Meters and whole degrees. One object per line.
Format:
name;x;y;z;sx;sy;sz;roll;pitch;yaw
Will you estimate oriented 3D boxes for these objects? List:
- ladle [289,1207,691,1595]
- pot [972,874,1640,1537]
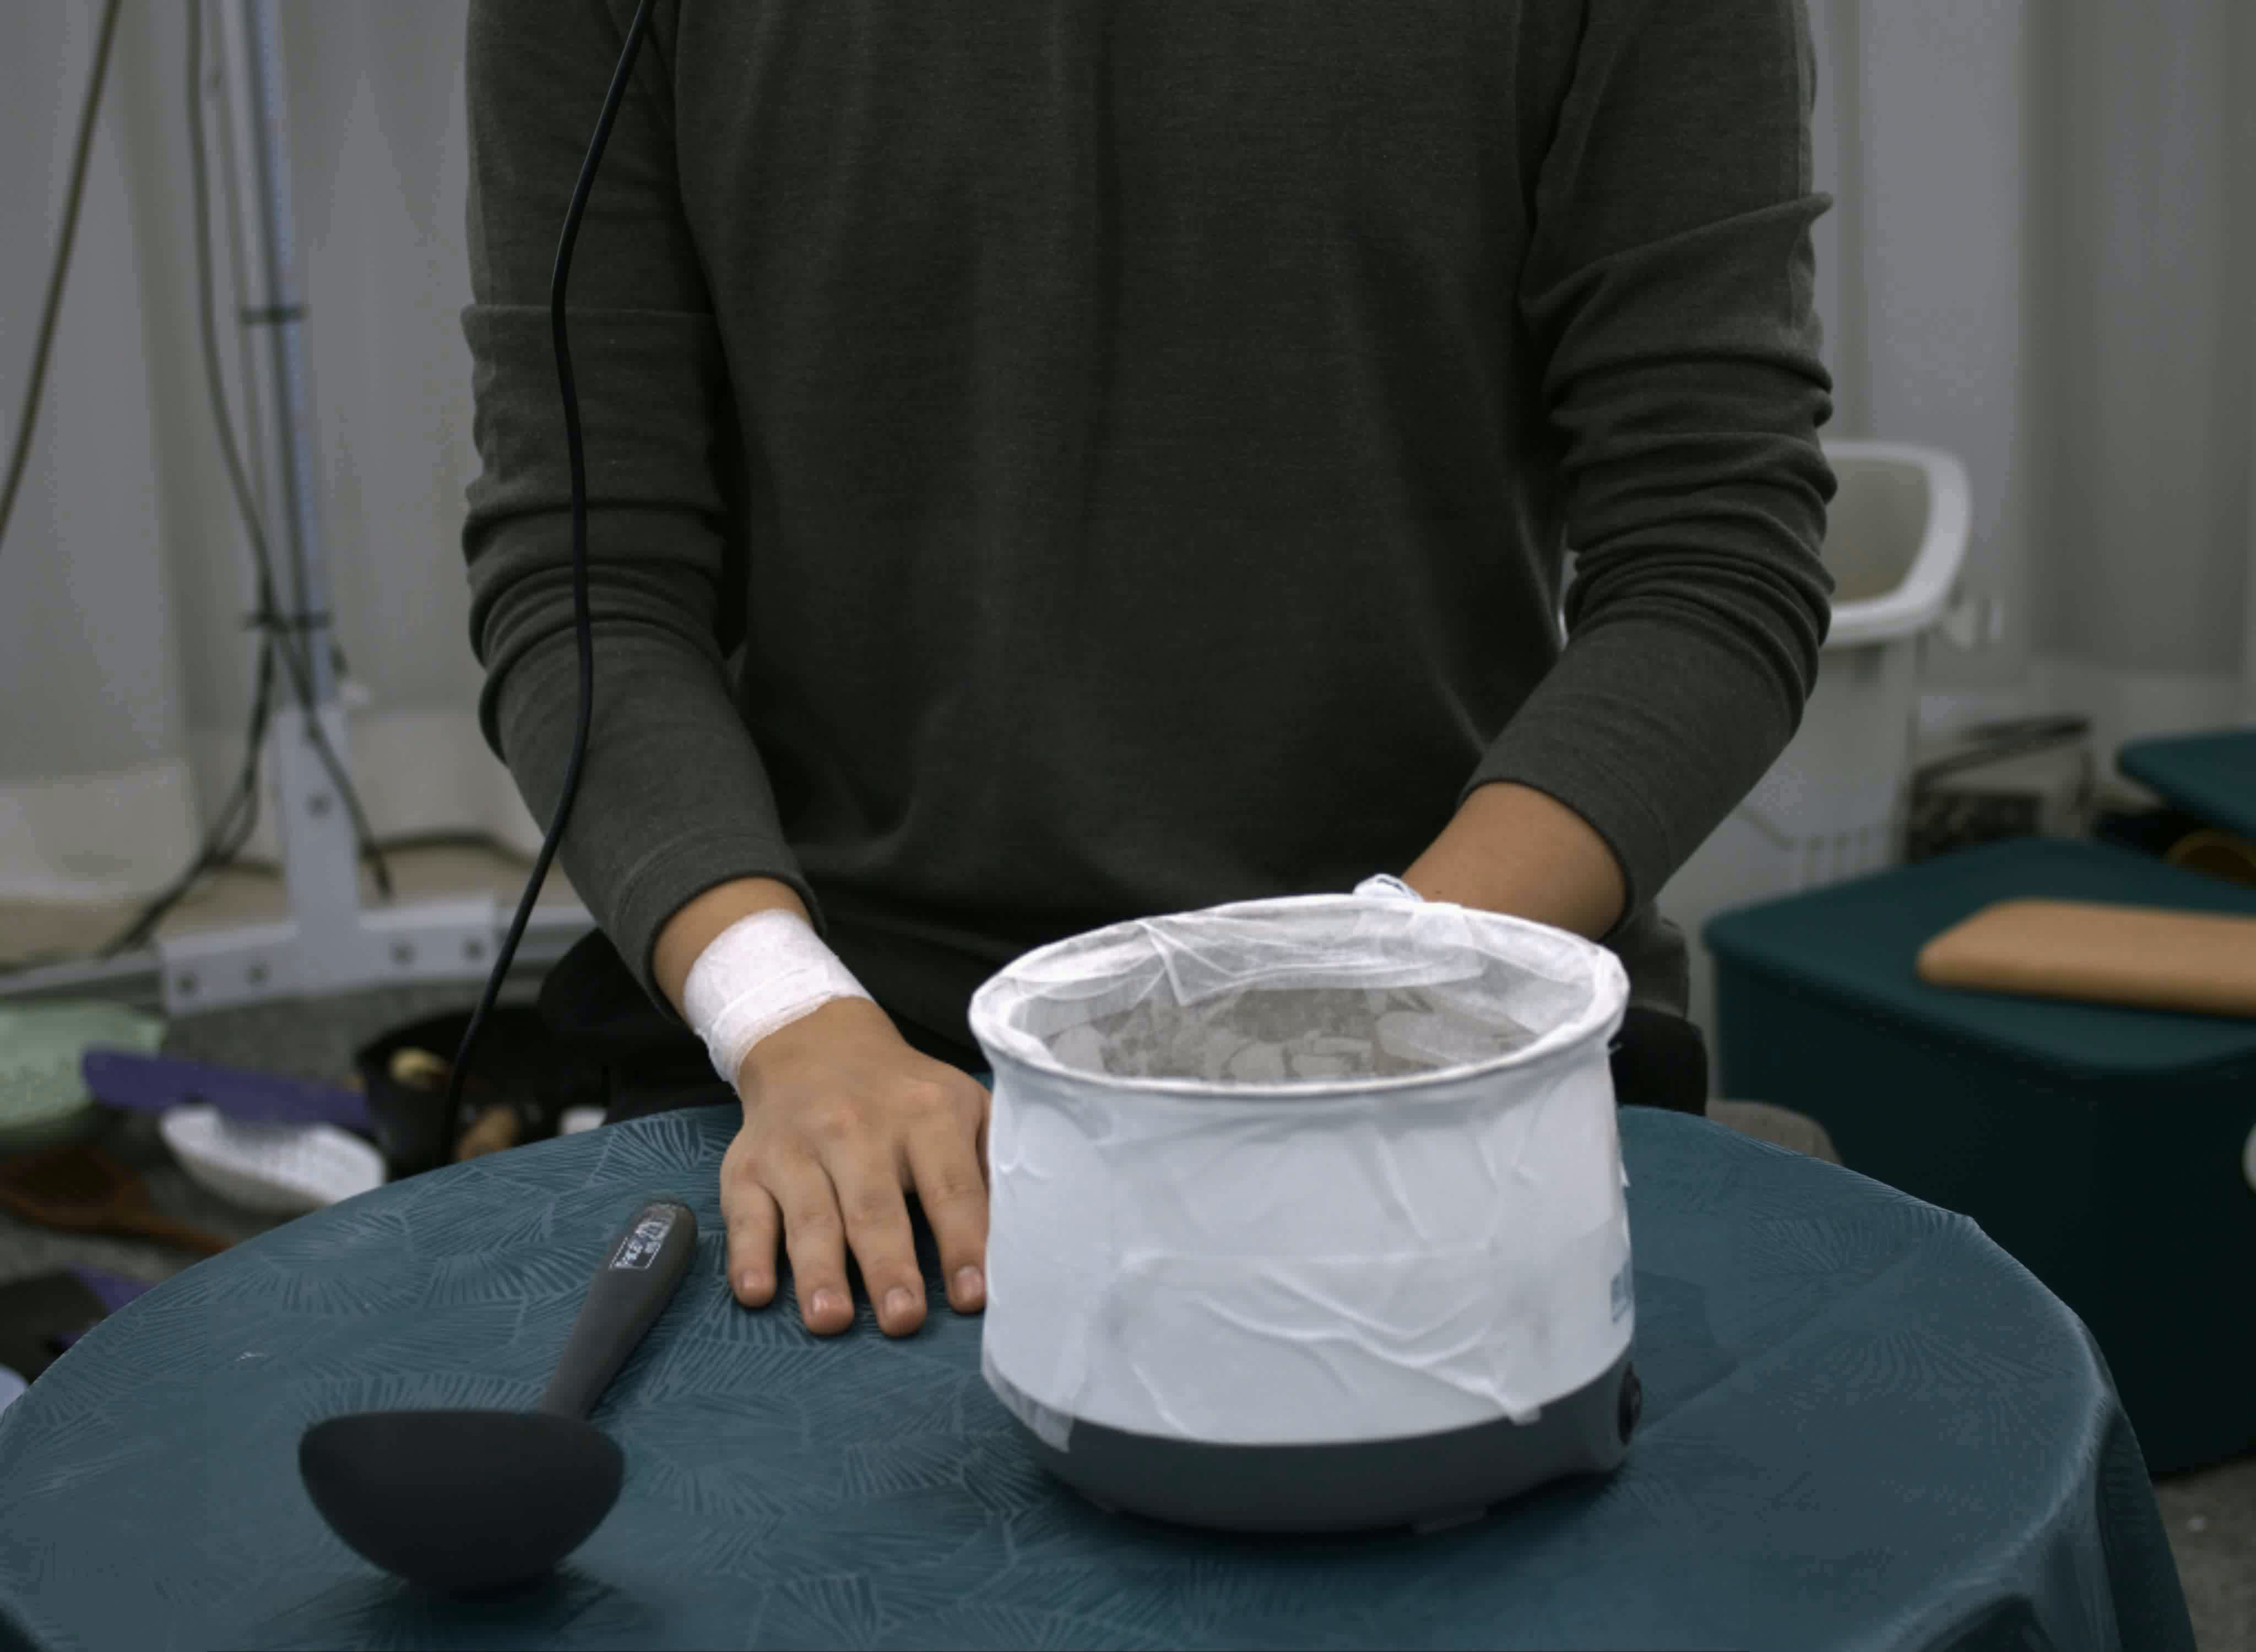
ladle;-0.158;0.140;1.531;0.086;0.064;0.316;4;15;6
pot;0.056;0.098;1.505;0.178;0.136;0.234;1;15;15
